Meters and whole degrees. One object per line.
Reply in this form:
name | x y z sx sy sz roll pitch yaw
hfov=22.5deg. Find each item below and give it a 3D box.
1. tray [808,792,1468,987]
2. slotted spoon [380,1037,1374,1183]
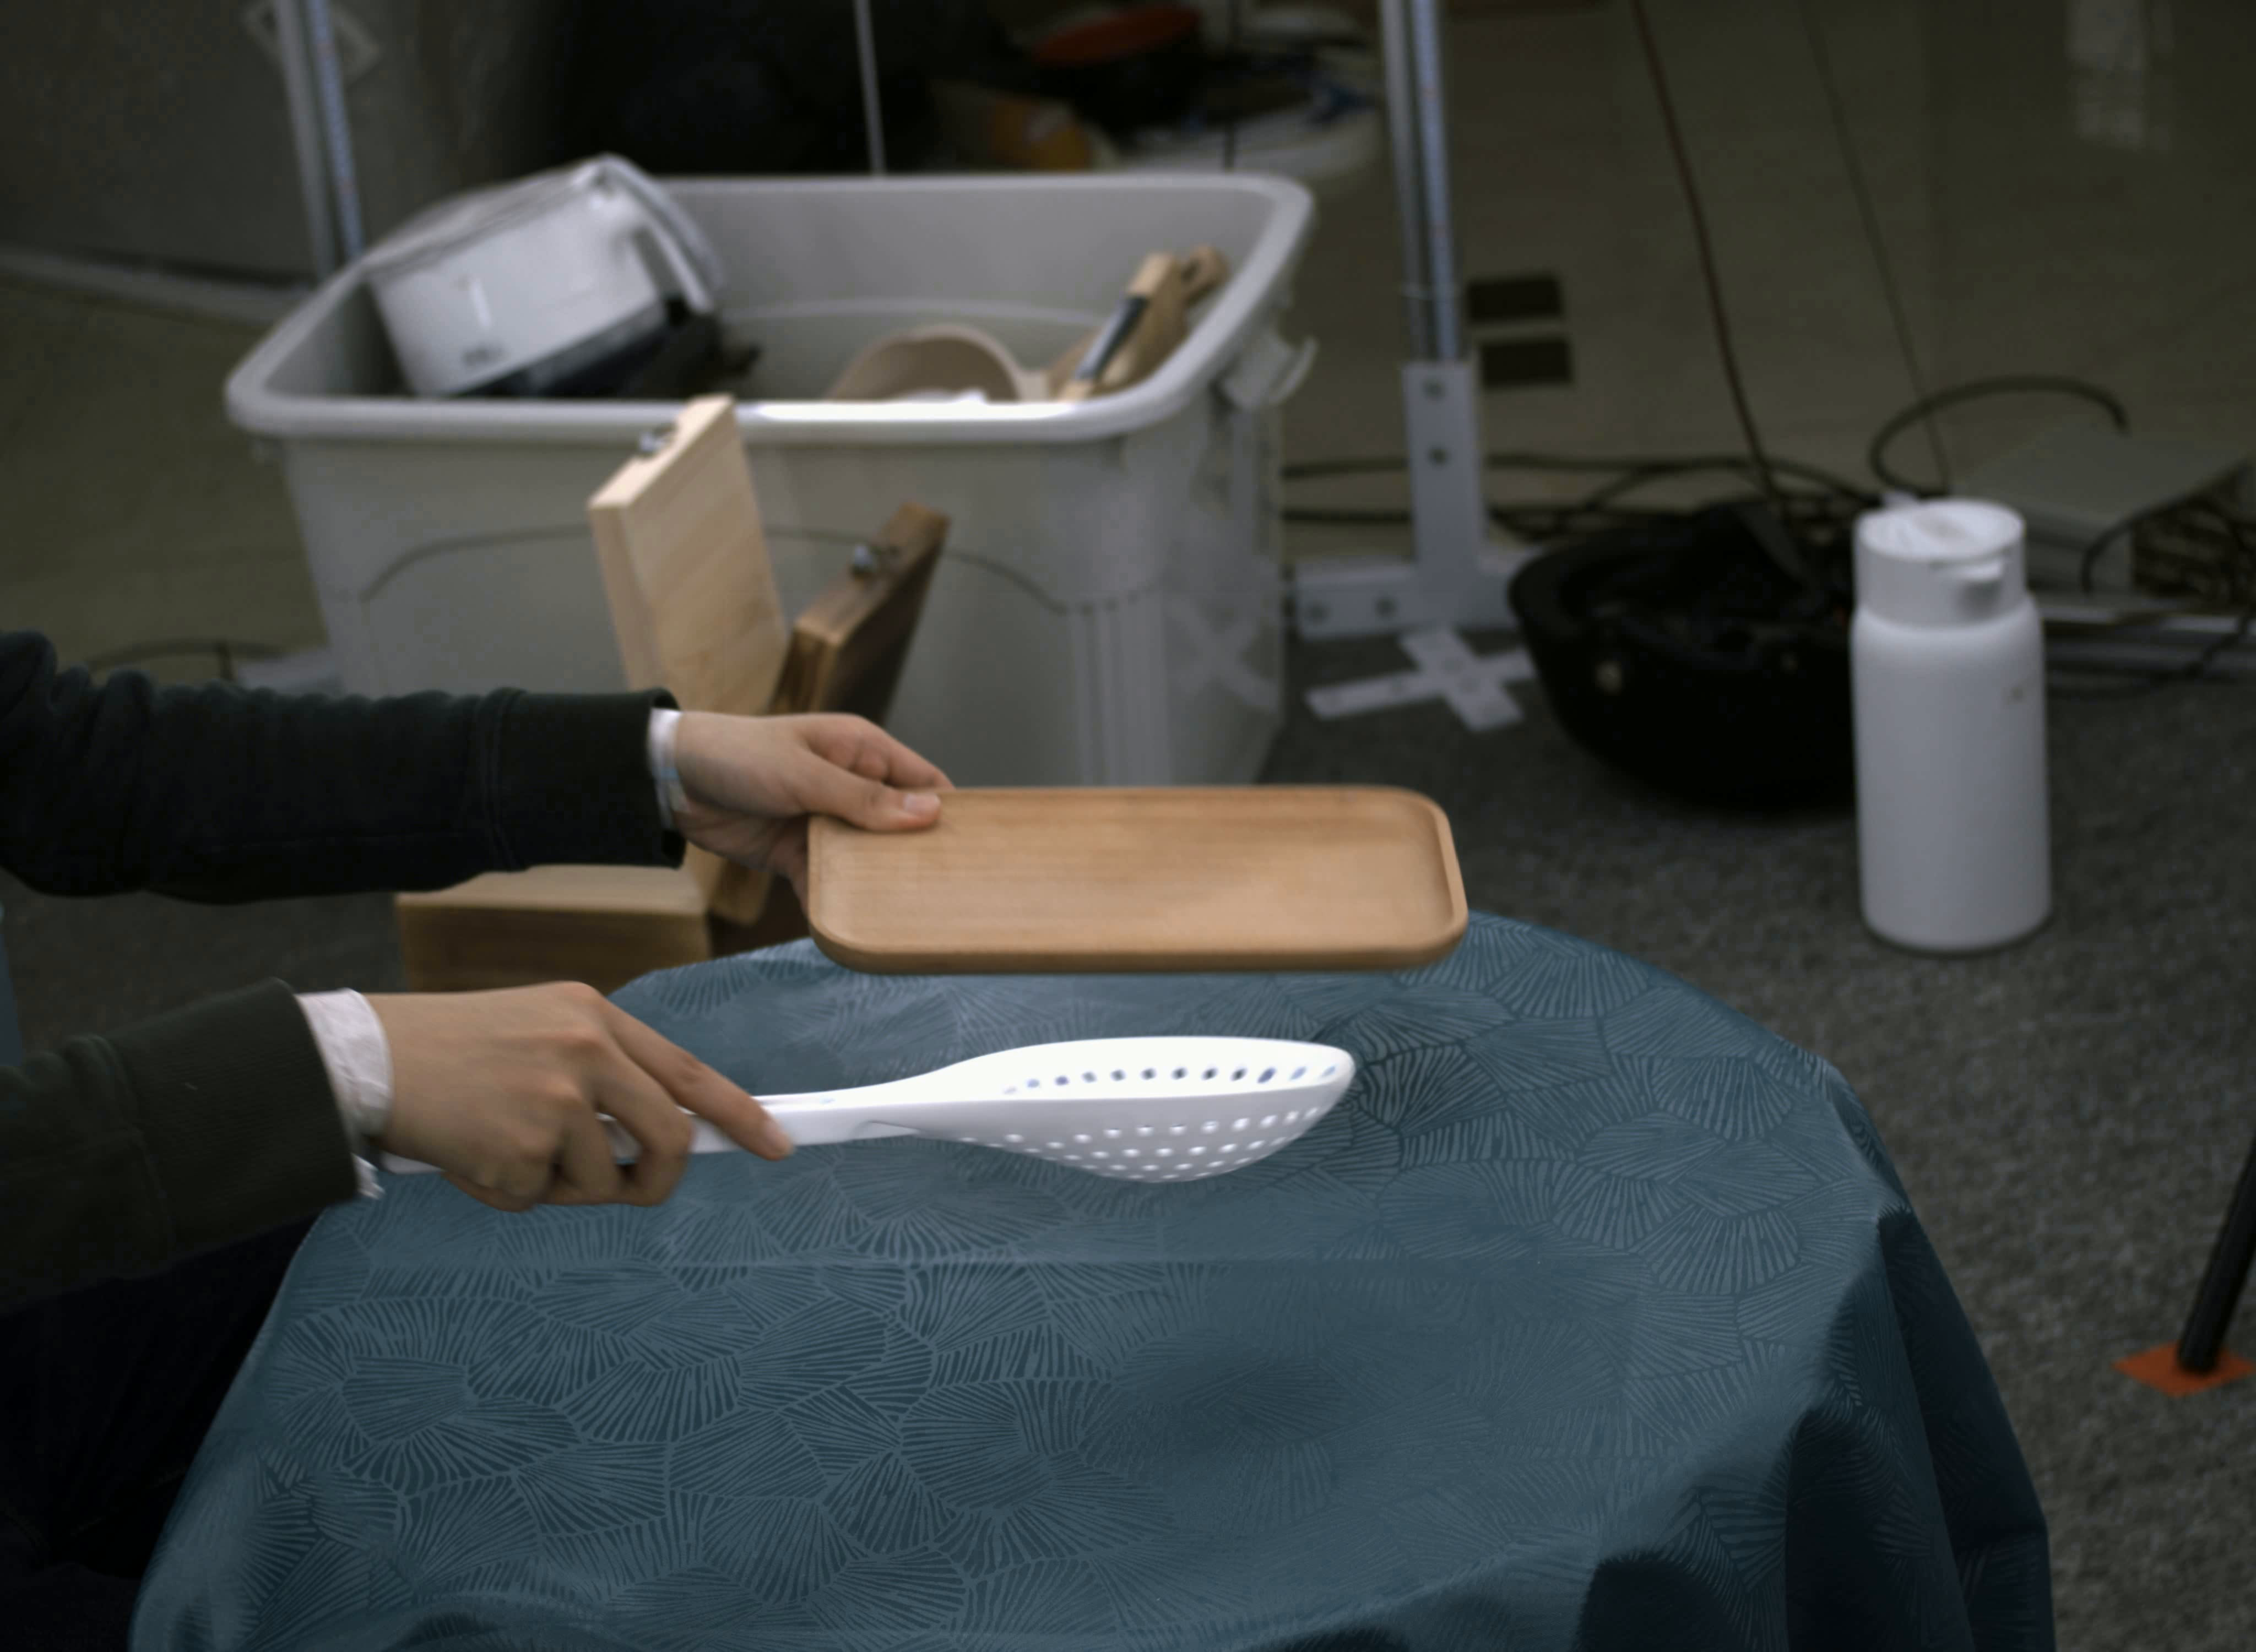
tray | 0.002 0.025 2.173 0.250 0.023 0.128 0 27 -2
slotted spoon | -0.081 0.096 1.905 0.349 0.046 0.135 1 4 -25
